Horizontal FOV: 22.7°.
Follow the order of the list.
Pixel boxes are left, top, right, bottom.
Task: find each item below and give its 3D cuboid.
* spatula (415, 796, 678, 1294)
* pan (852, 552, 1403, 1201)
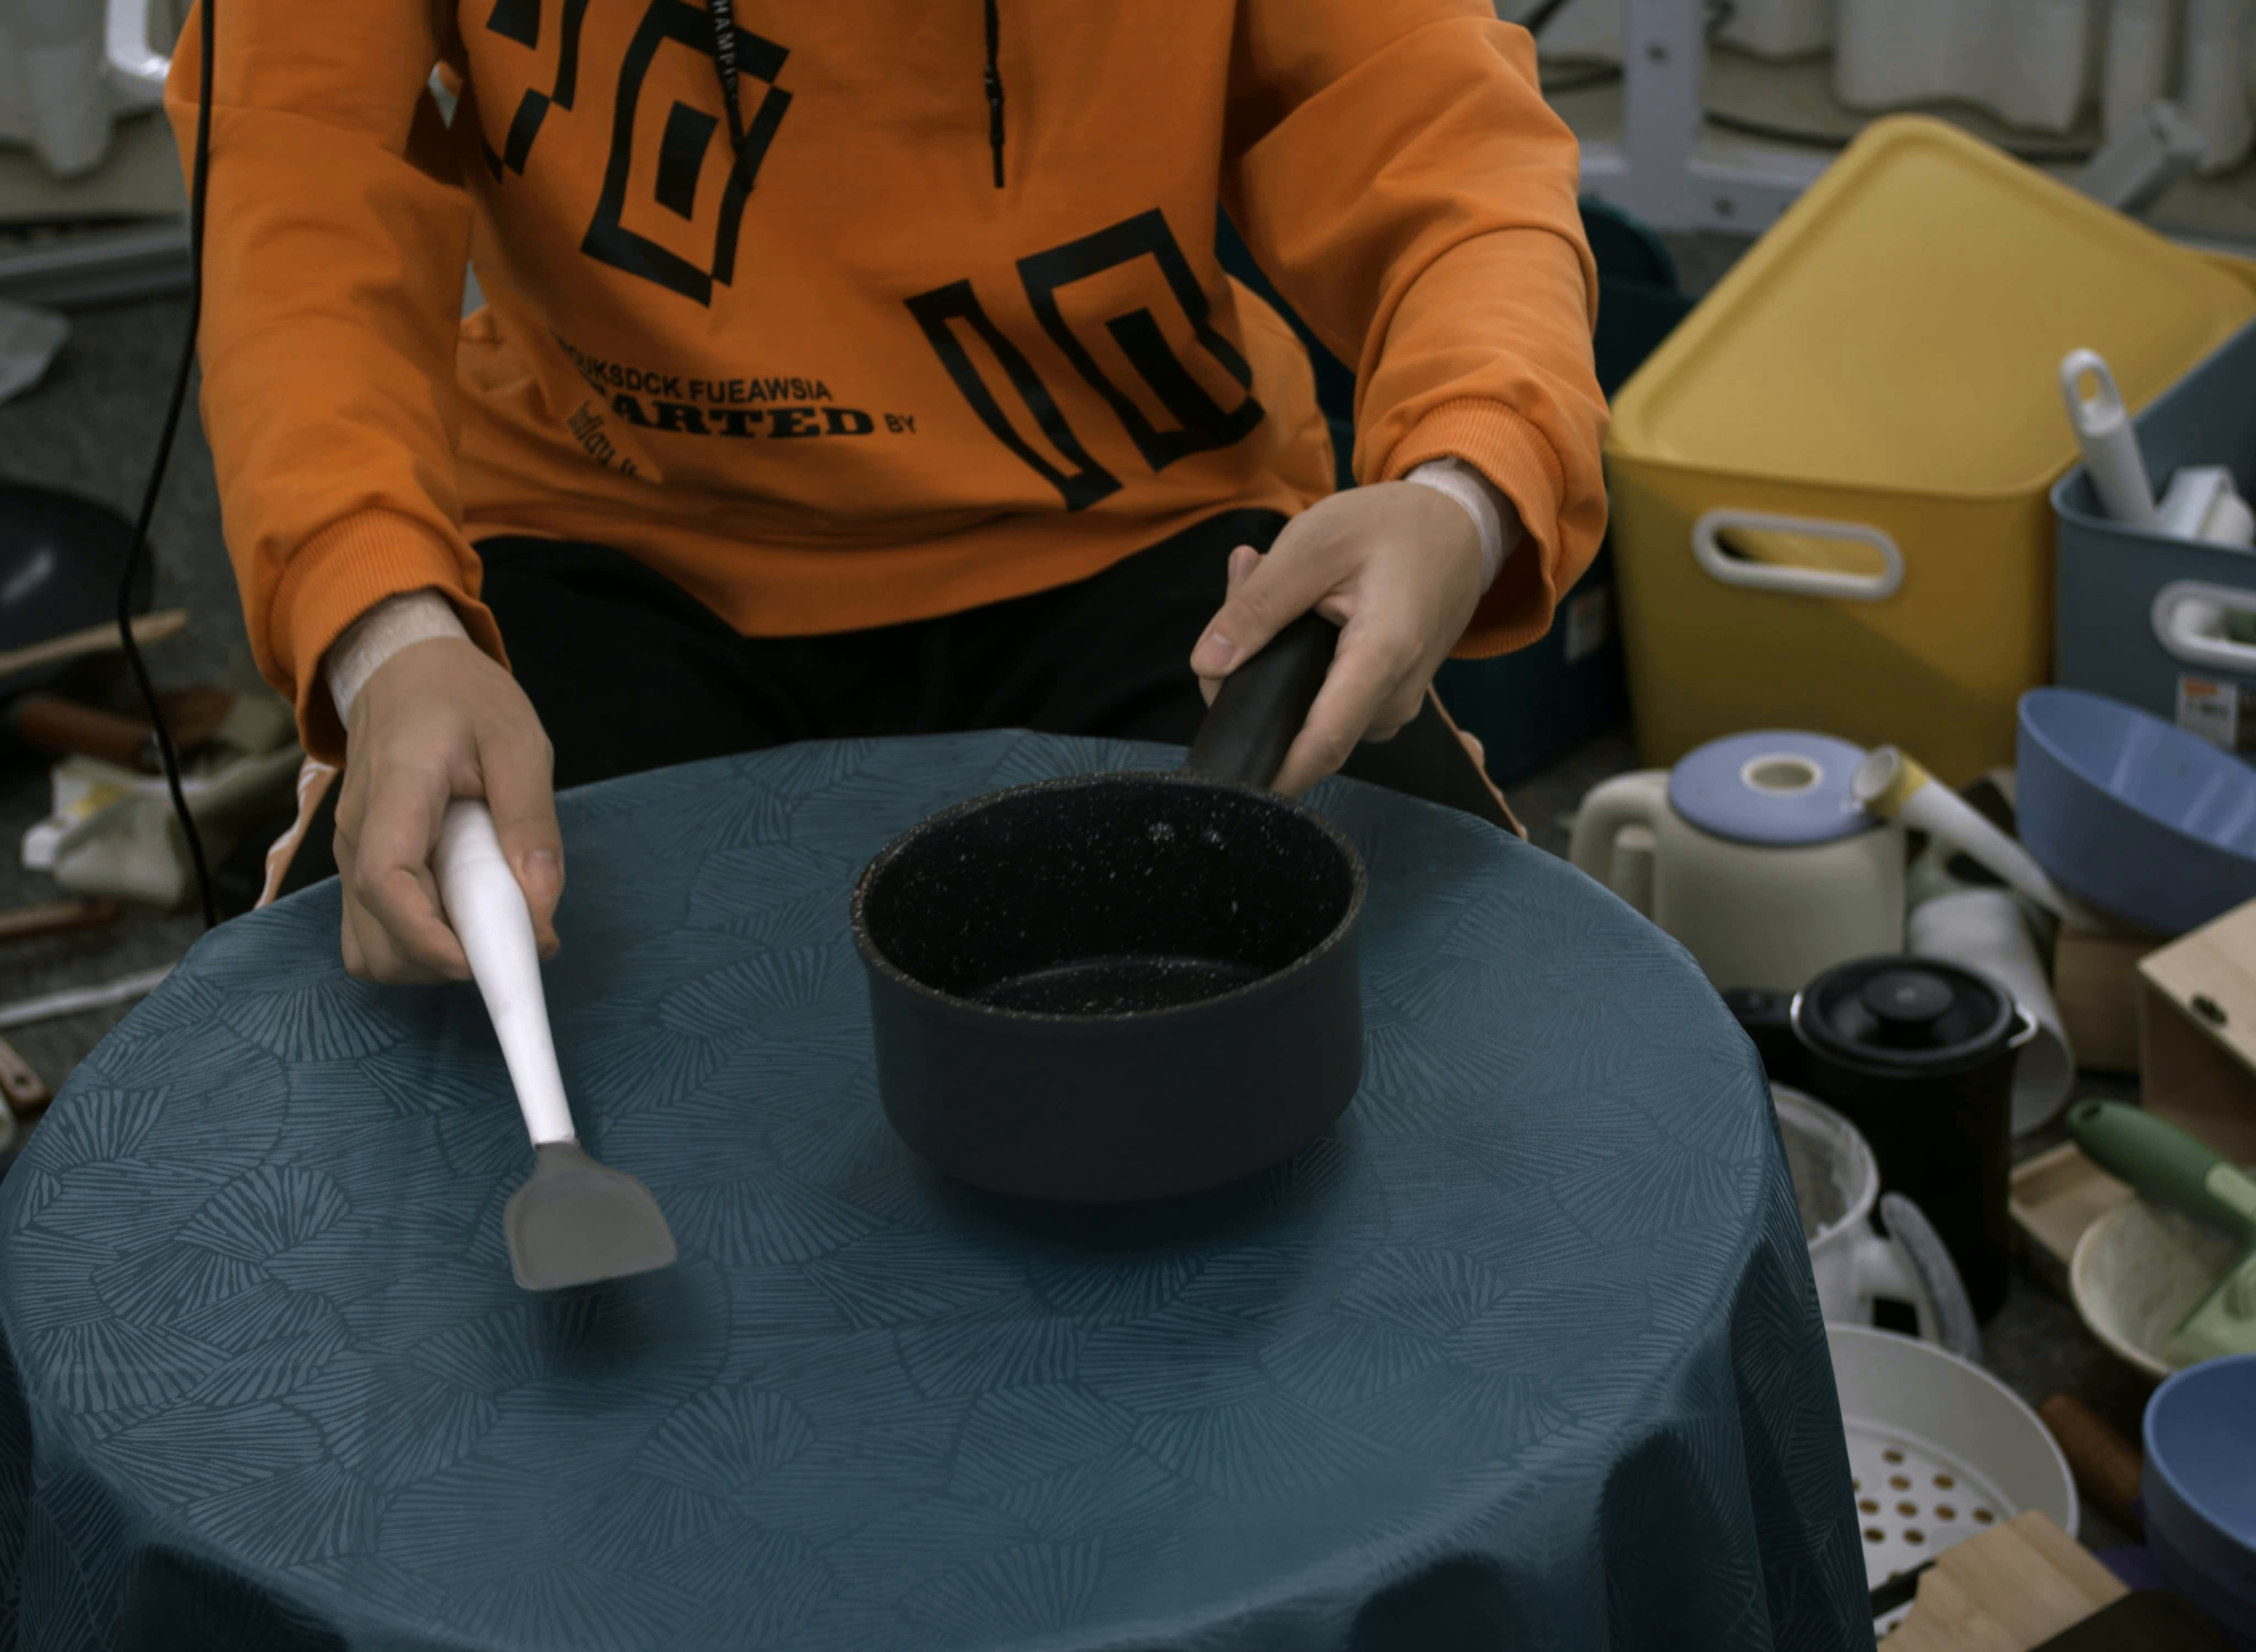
[{"bbox_3d":[-0.201,0.076,1.881,0.058,0.032,0.291,-6,32,-14],"label":"spatula"},{"bbox_3d":[0.025,0.013,1.928,0.171,0.085,0.334,7,31,20],"label":"pan"}]
